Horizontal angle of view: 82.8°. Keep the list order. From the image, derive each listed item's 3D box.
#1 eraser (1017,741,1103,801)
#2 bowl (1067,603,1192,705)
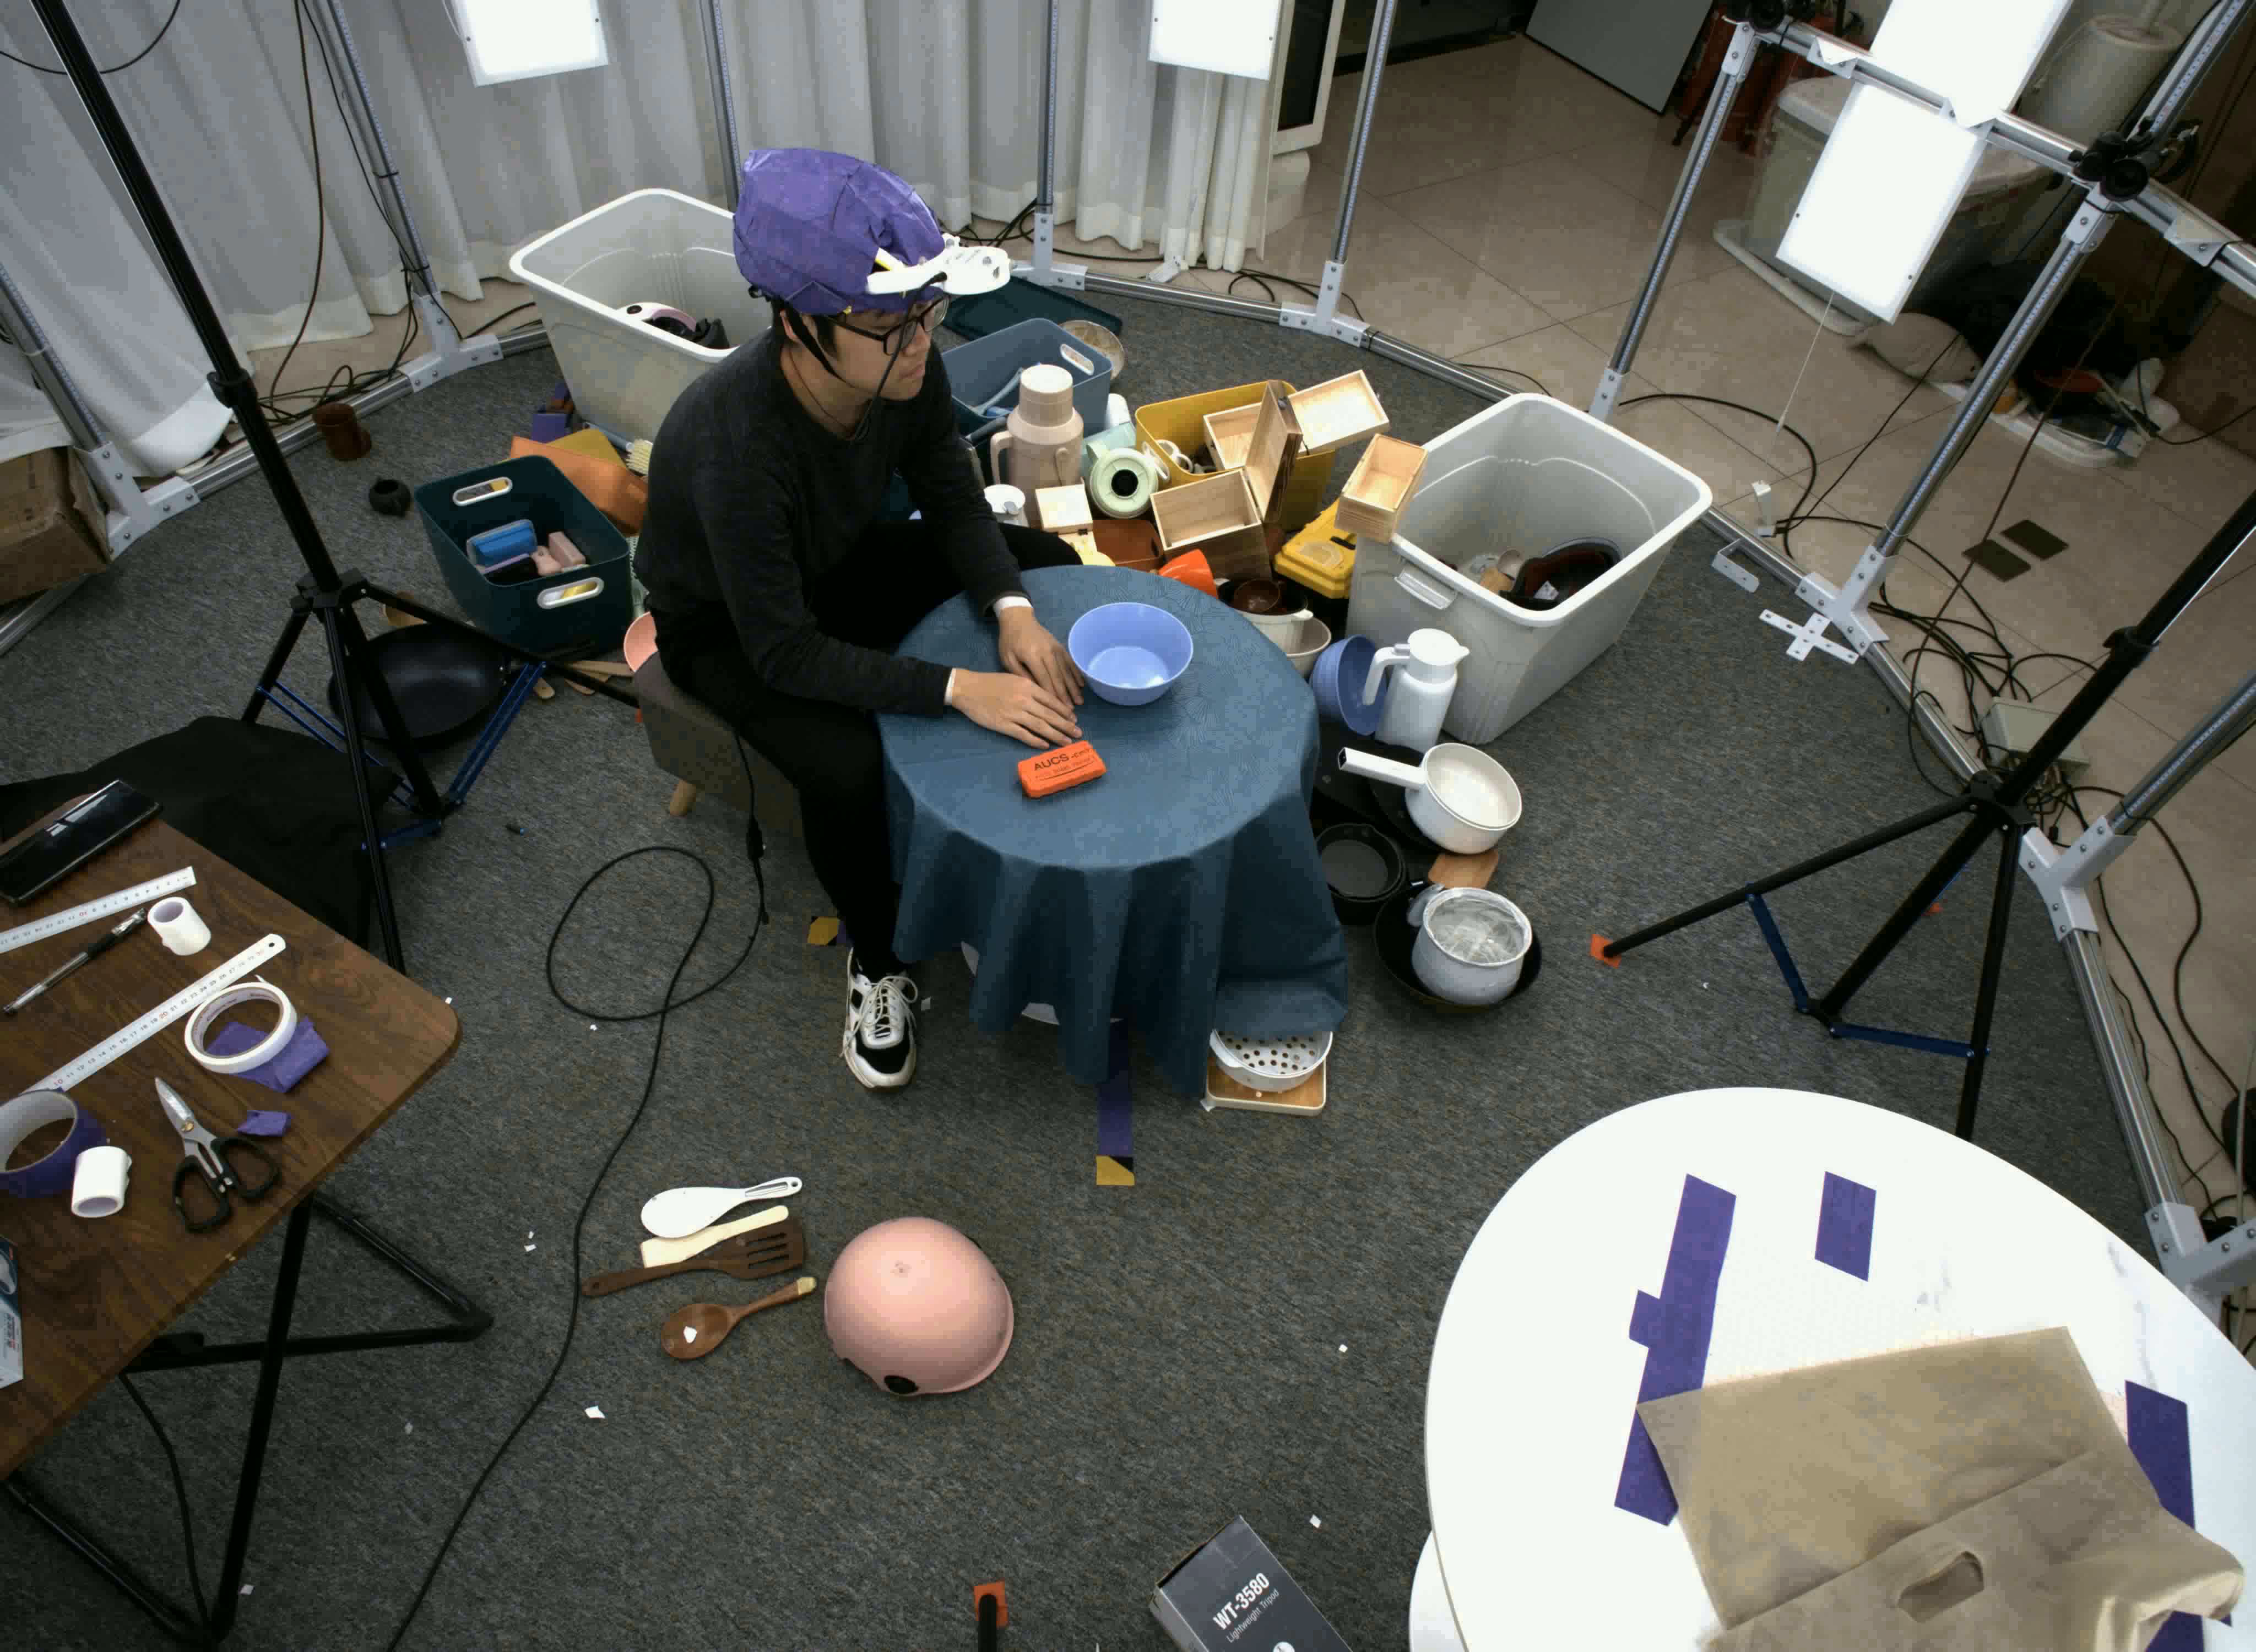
[{"bbox_3d":[-0.091,-0.074,1.713,0.108,0.022,0.060,-20,55,-19],"label":"eraser"},{"bbox_3d":[0.000,-0.236,1.830,0.176,0.068,0.180,2,49,-2],"label":"bowl"}]
